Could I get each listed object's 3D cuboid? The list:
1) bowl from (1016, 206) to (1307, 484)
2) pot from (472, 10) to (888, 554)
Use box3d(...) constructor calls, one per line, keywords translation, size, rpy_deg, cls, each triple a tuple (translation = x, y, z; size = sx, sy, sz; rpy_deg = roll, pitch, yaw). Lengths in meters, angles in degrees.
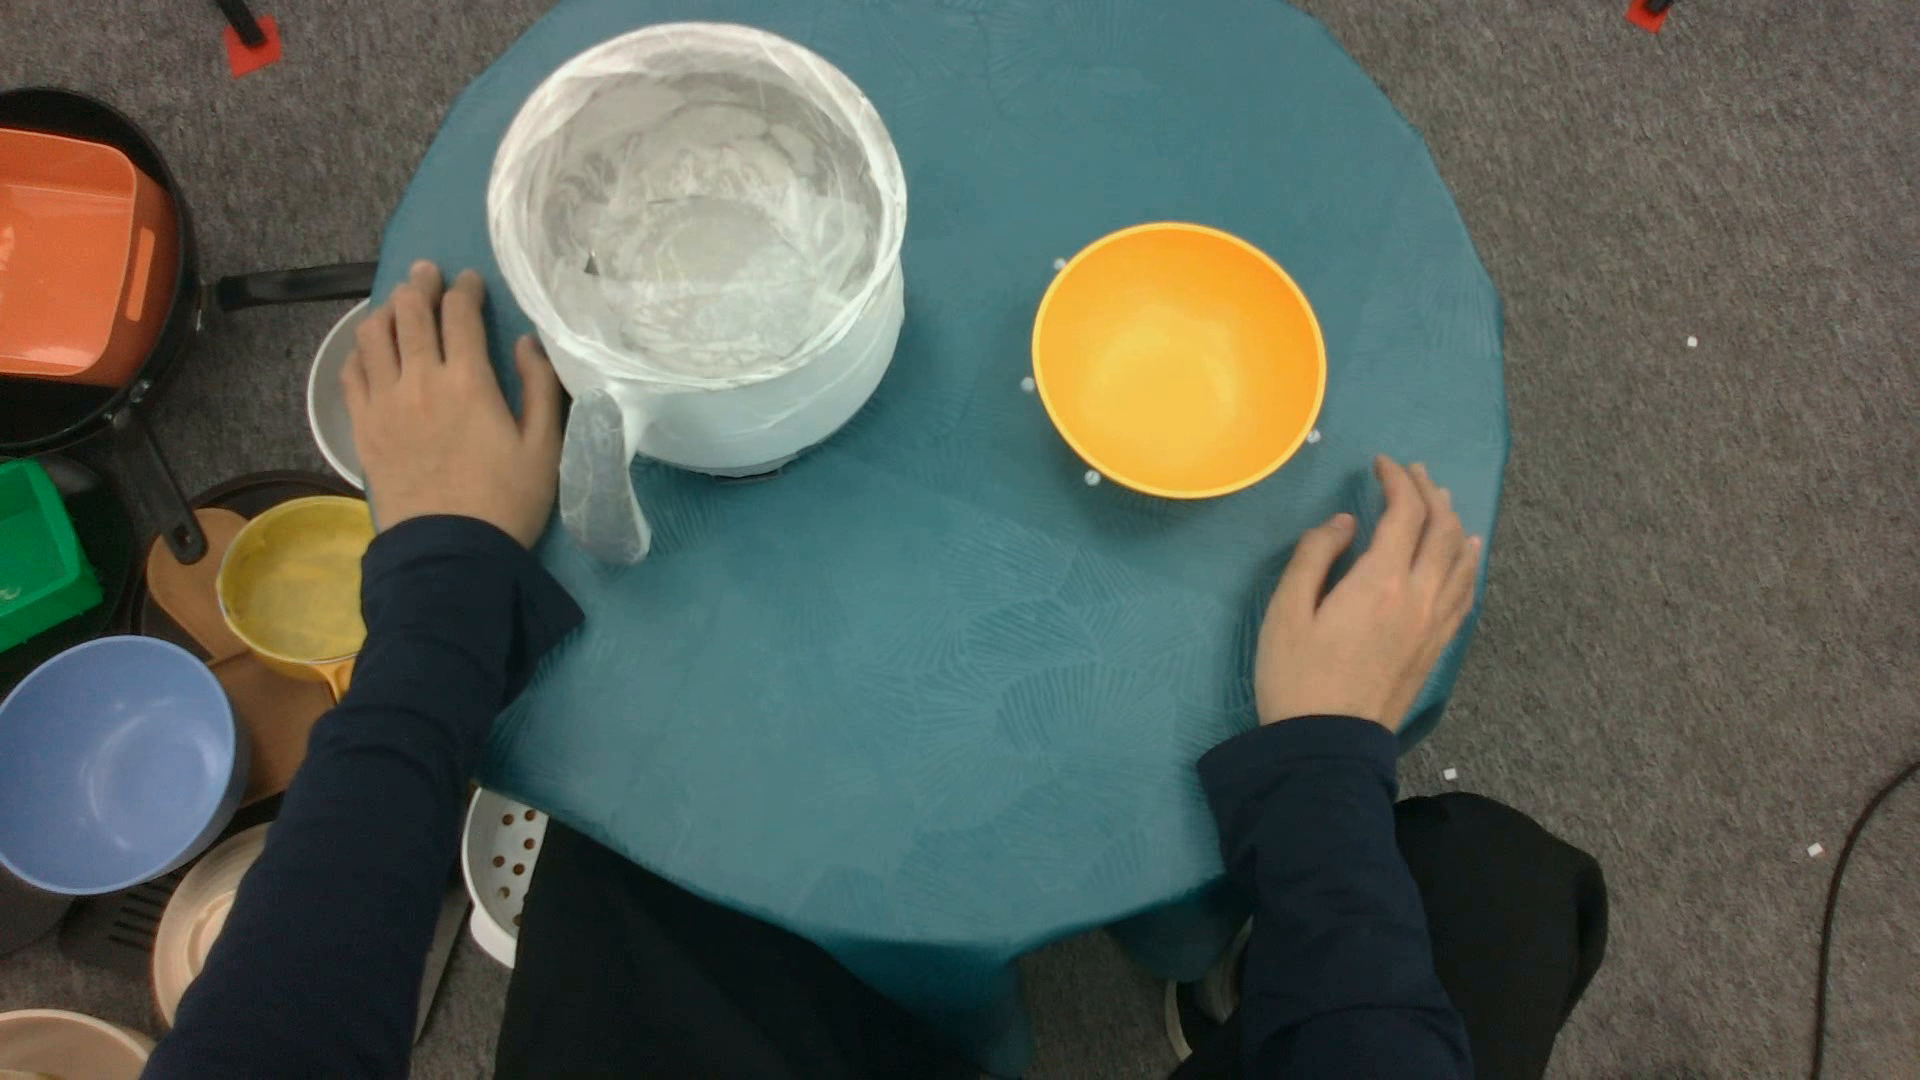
box3d(translation=(0.096, -0.091, 0.699), size=(0.145, 0.060, 0.145), rpy_deg=(1, 76, -5), cls="bowl")
box3d(translation=(-0.132, -0.111, 0.645), size=(0.178, 0.136, 0.234), rpy_deg=(19, 72, 4), cls="pot")
